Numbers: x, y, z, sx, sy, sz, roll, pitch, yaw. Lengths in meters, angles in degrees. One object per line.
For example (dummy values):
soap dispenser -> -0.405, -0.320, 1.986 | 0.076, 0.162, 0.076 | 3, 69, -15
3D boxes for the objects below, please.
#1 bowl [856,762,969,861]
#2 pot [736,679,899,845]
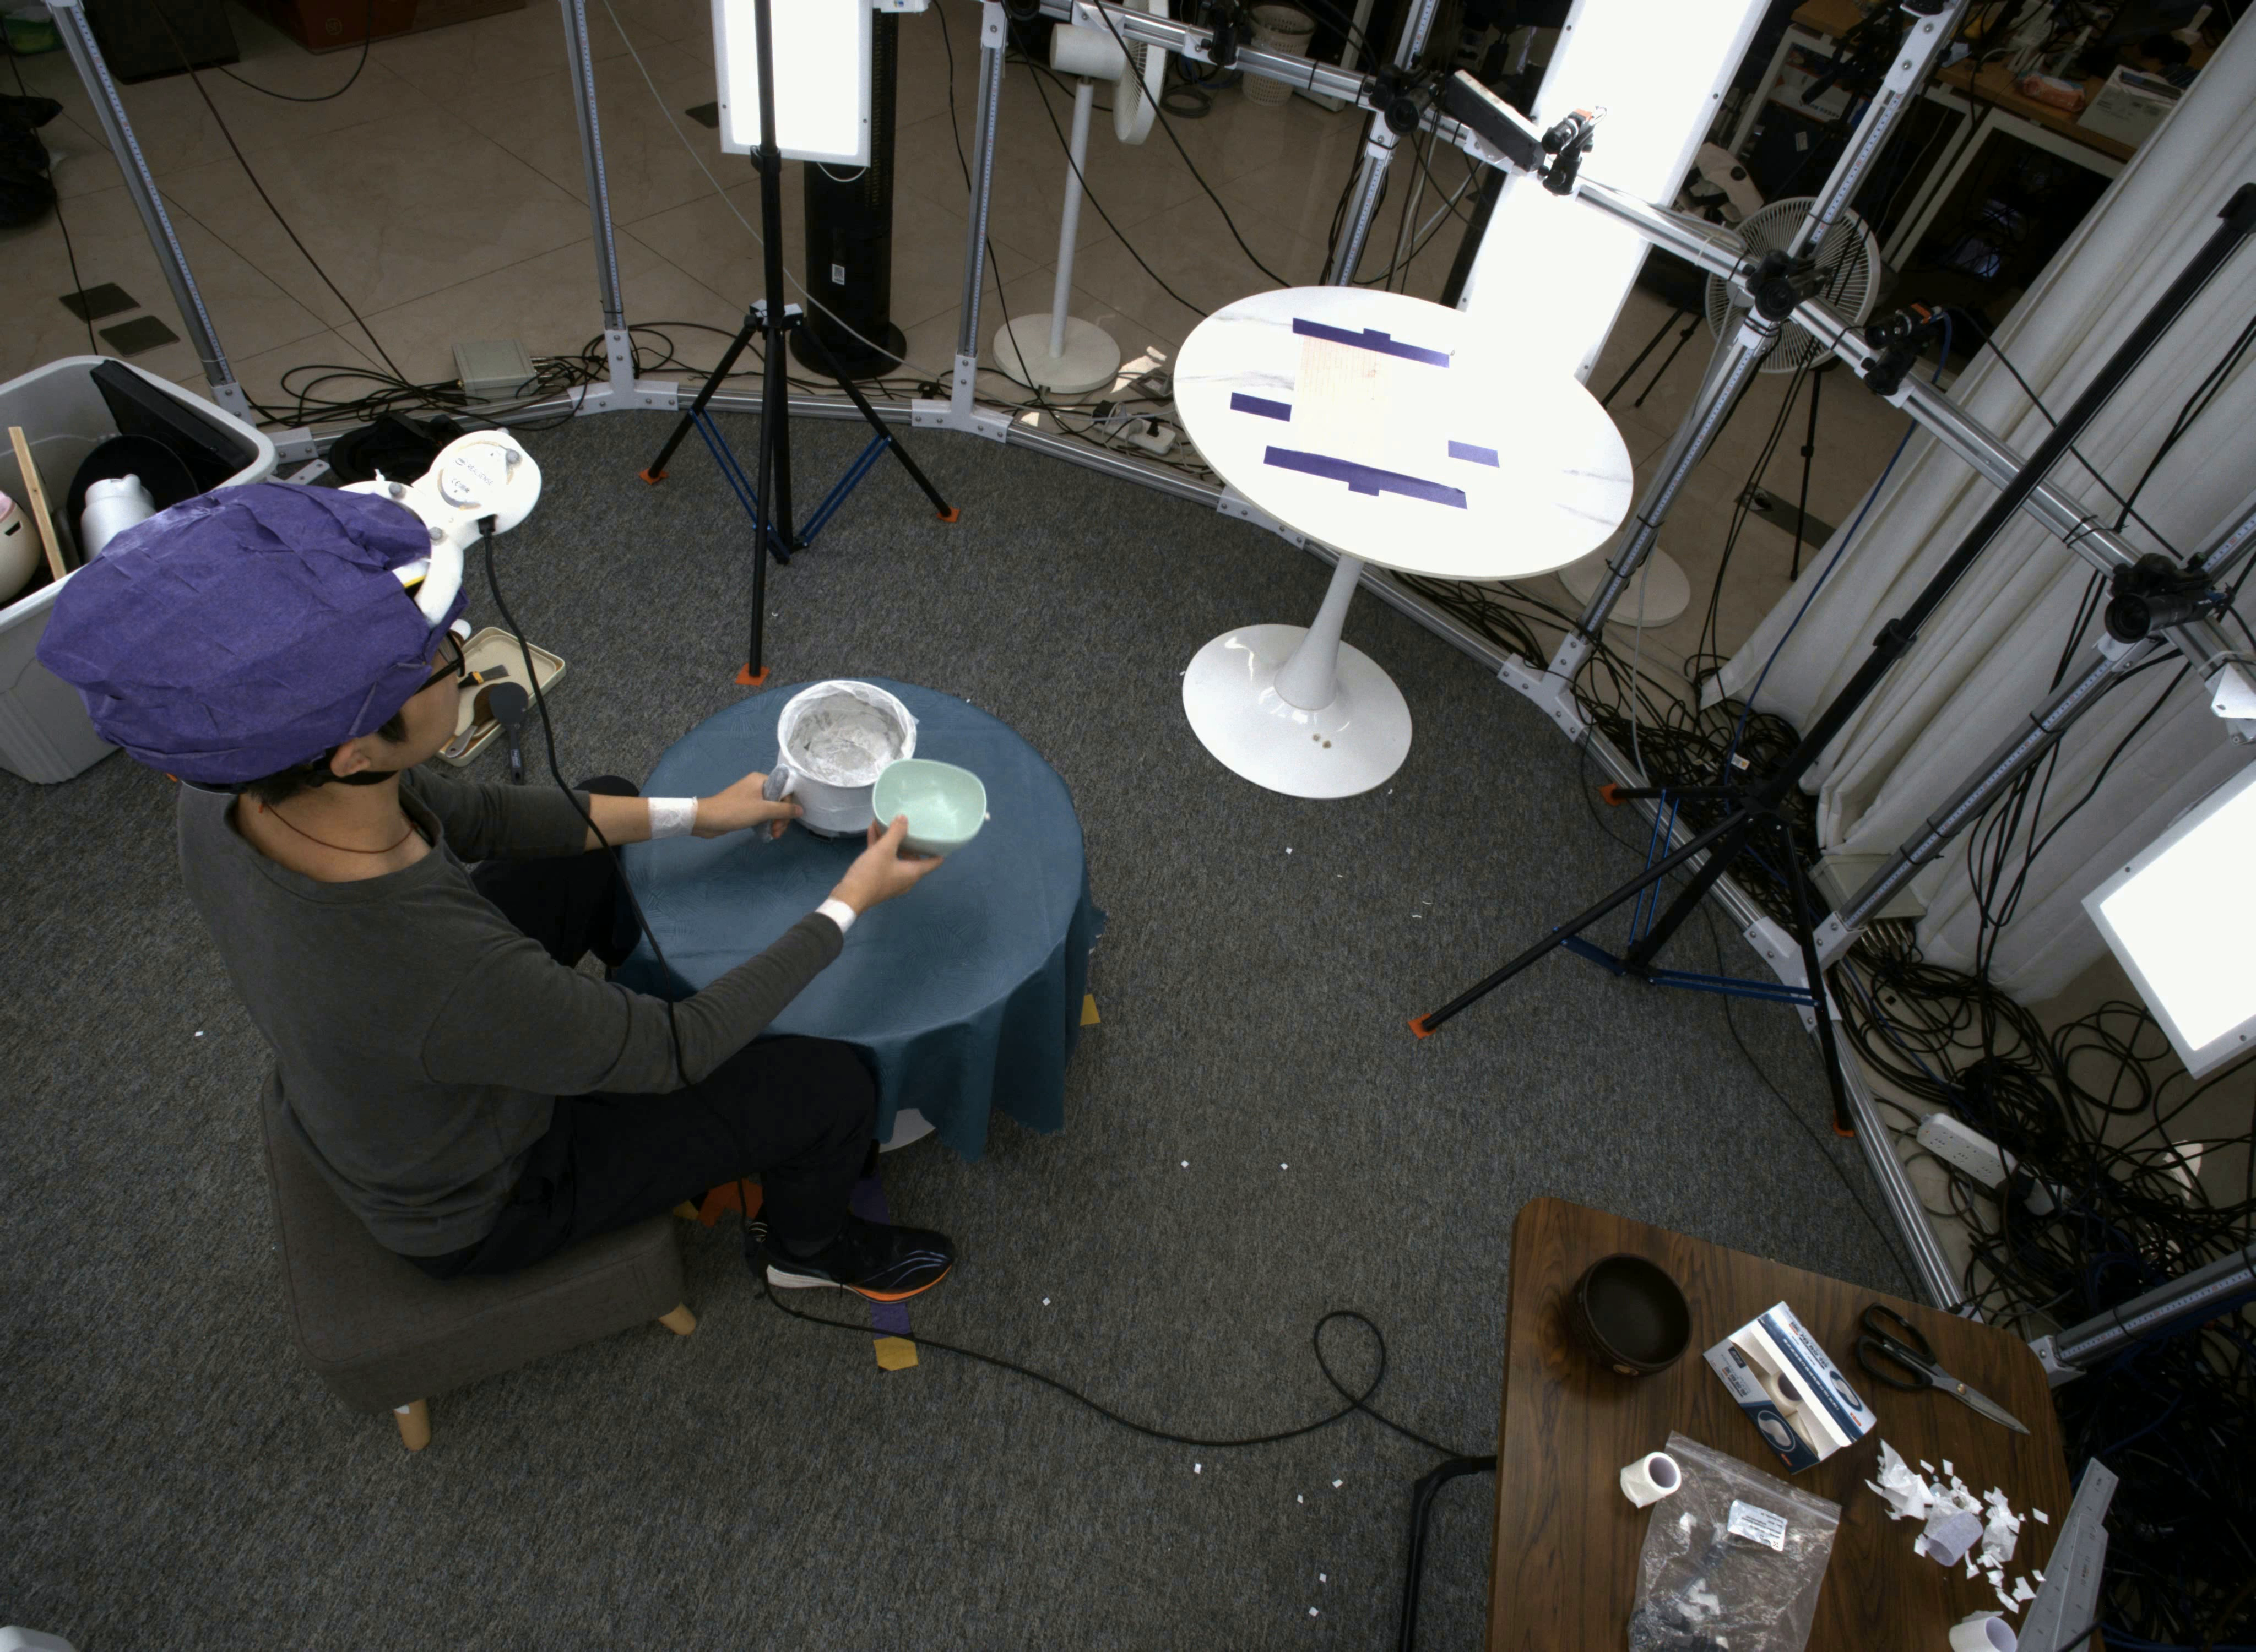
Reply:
bowl -> -0.269, -0.009, 1.606 | 0.152, 0.059, 0.148 | 15, 42, -12
pot -> -0.412, -0.068, 1.699 | 0.175, 0.139, 0.234 | 41, 55, 15
